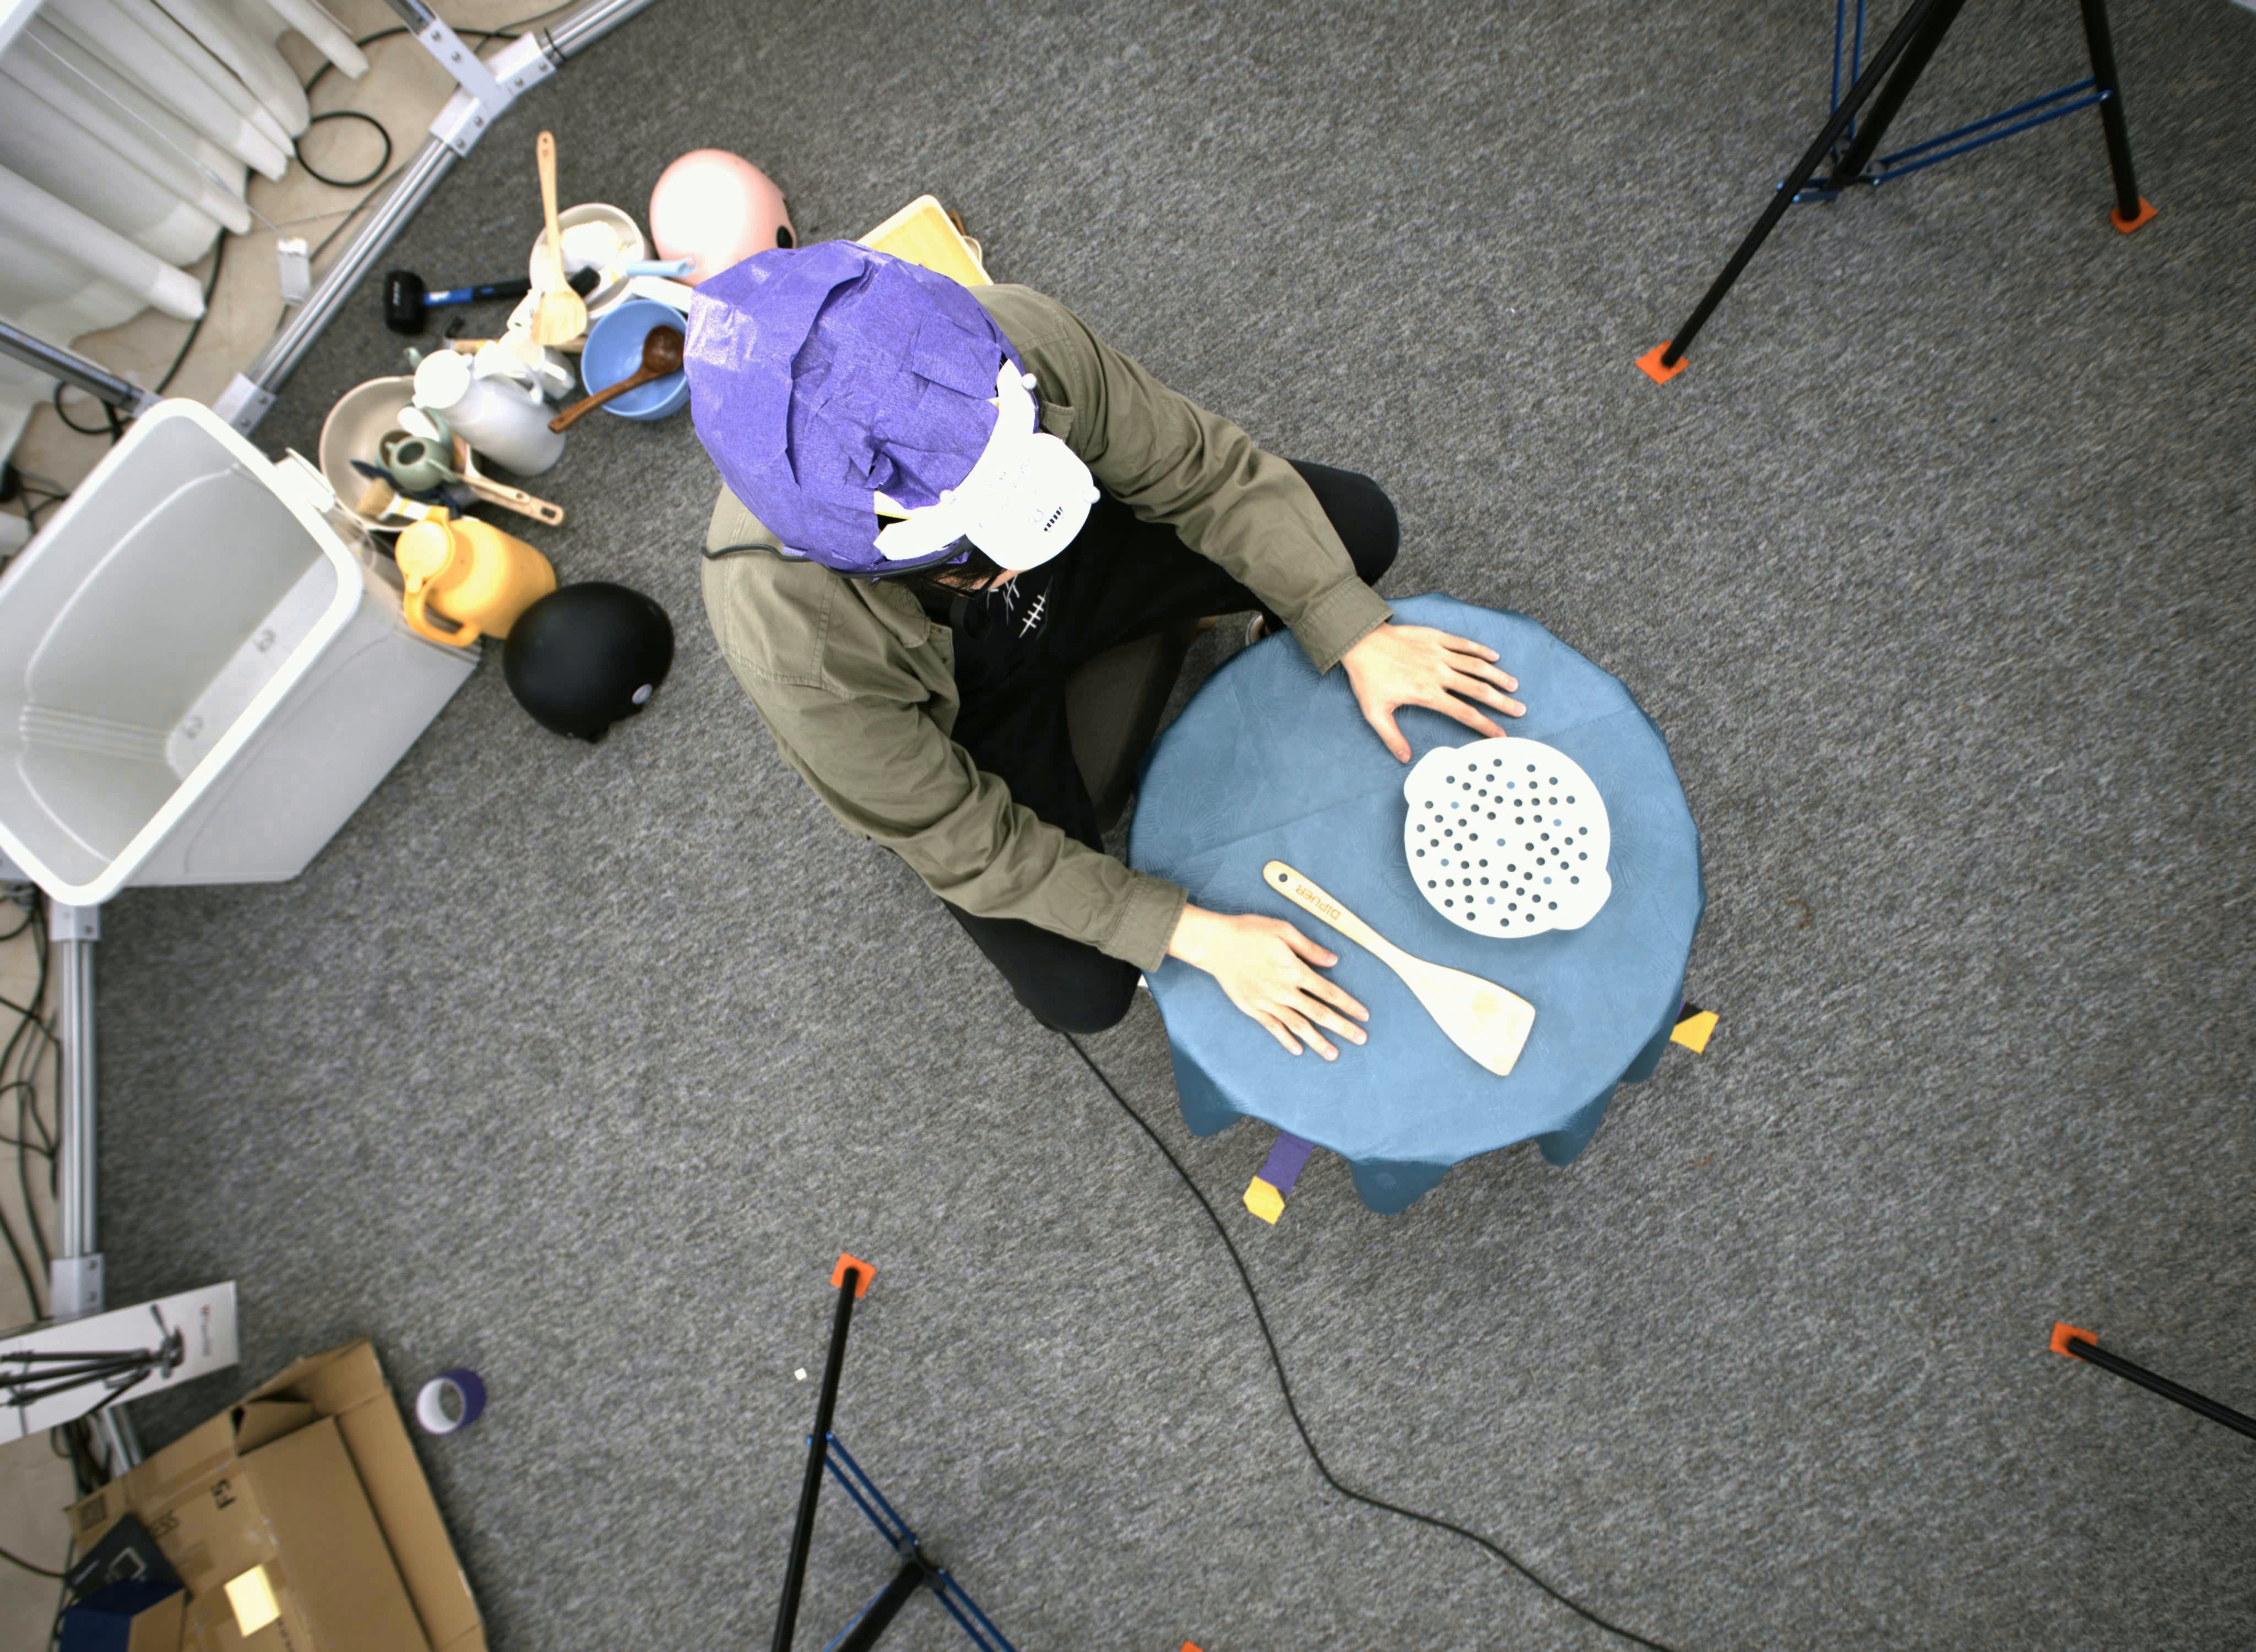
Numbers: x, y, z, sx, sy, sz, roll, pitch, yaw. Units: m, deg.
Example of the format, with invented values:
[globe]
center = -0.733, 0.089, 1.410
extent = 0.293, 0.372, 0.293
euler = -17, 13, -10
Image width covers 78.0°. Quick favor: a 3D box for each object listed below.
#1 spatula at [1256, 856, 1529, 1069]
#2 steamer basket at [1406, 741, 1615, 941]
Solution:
[spatula]
center = 0.270, 0.127, 1.438
extent = 0.327, 0.016, 0.080
euler = 35, 93, 9
[steamer basket]
center = 0.386, 0.015, 1.398
extent = 0.229, 0.069, 0.202
euler = 41, 94, 11
